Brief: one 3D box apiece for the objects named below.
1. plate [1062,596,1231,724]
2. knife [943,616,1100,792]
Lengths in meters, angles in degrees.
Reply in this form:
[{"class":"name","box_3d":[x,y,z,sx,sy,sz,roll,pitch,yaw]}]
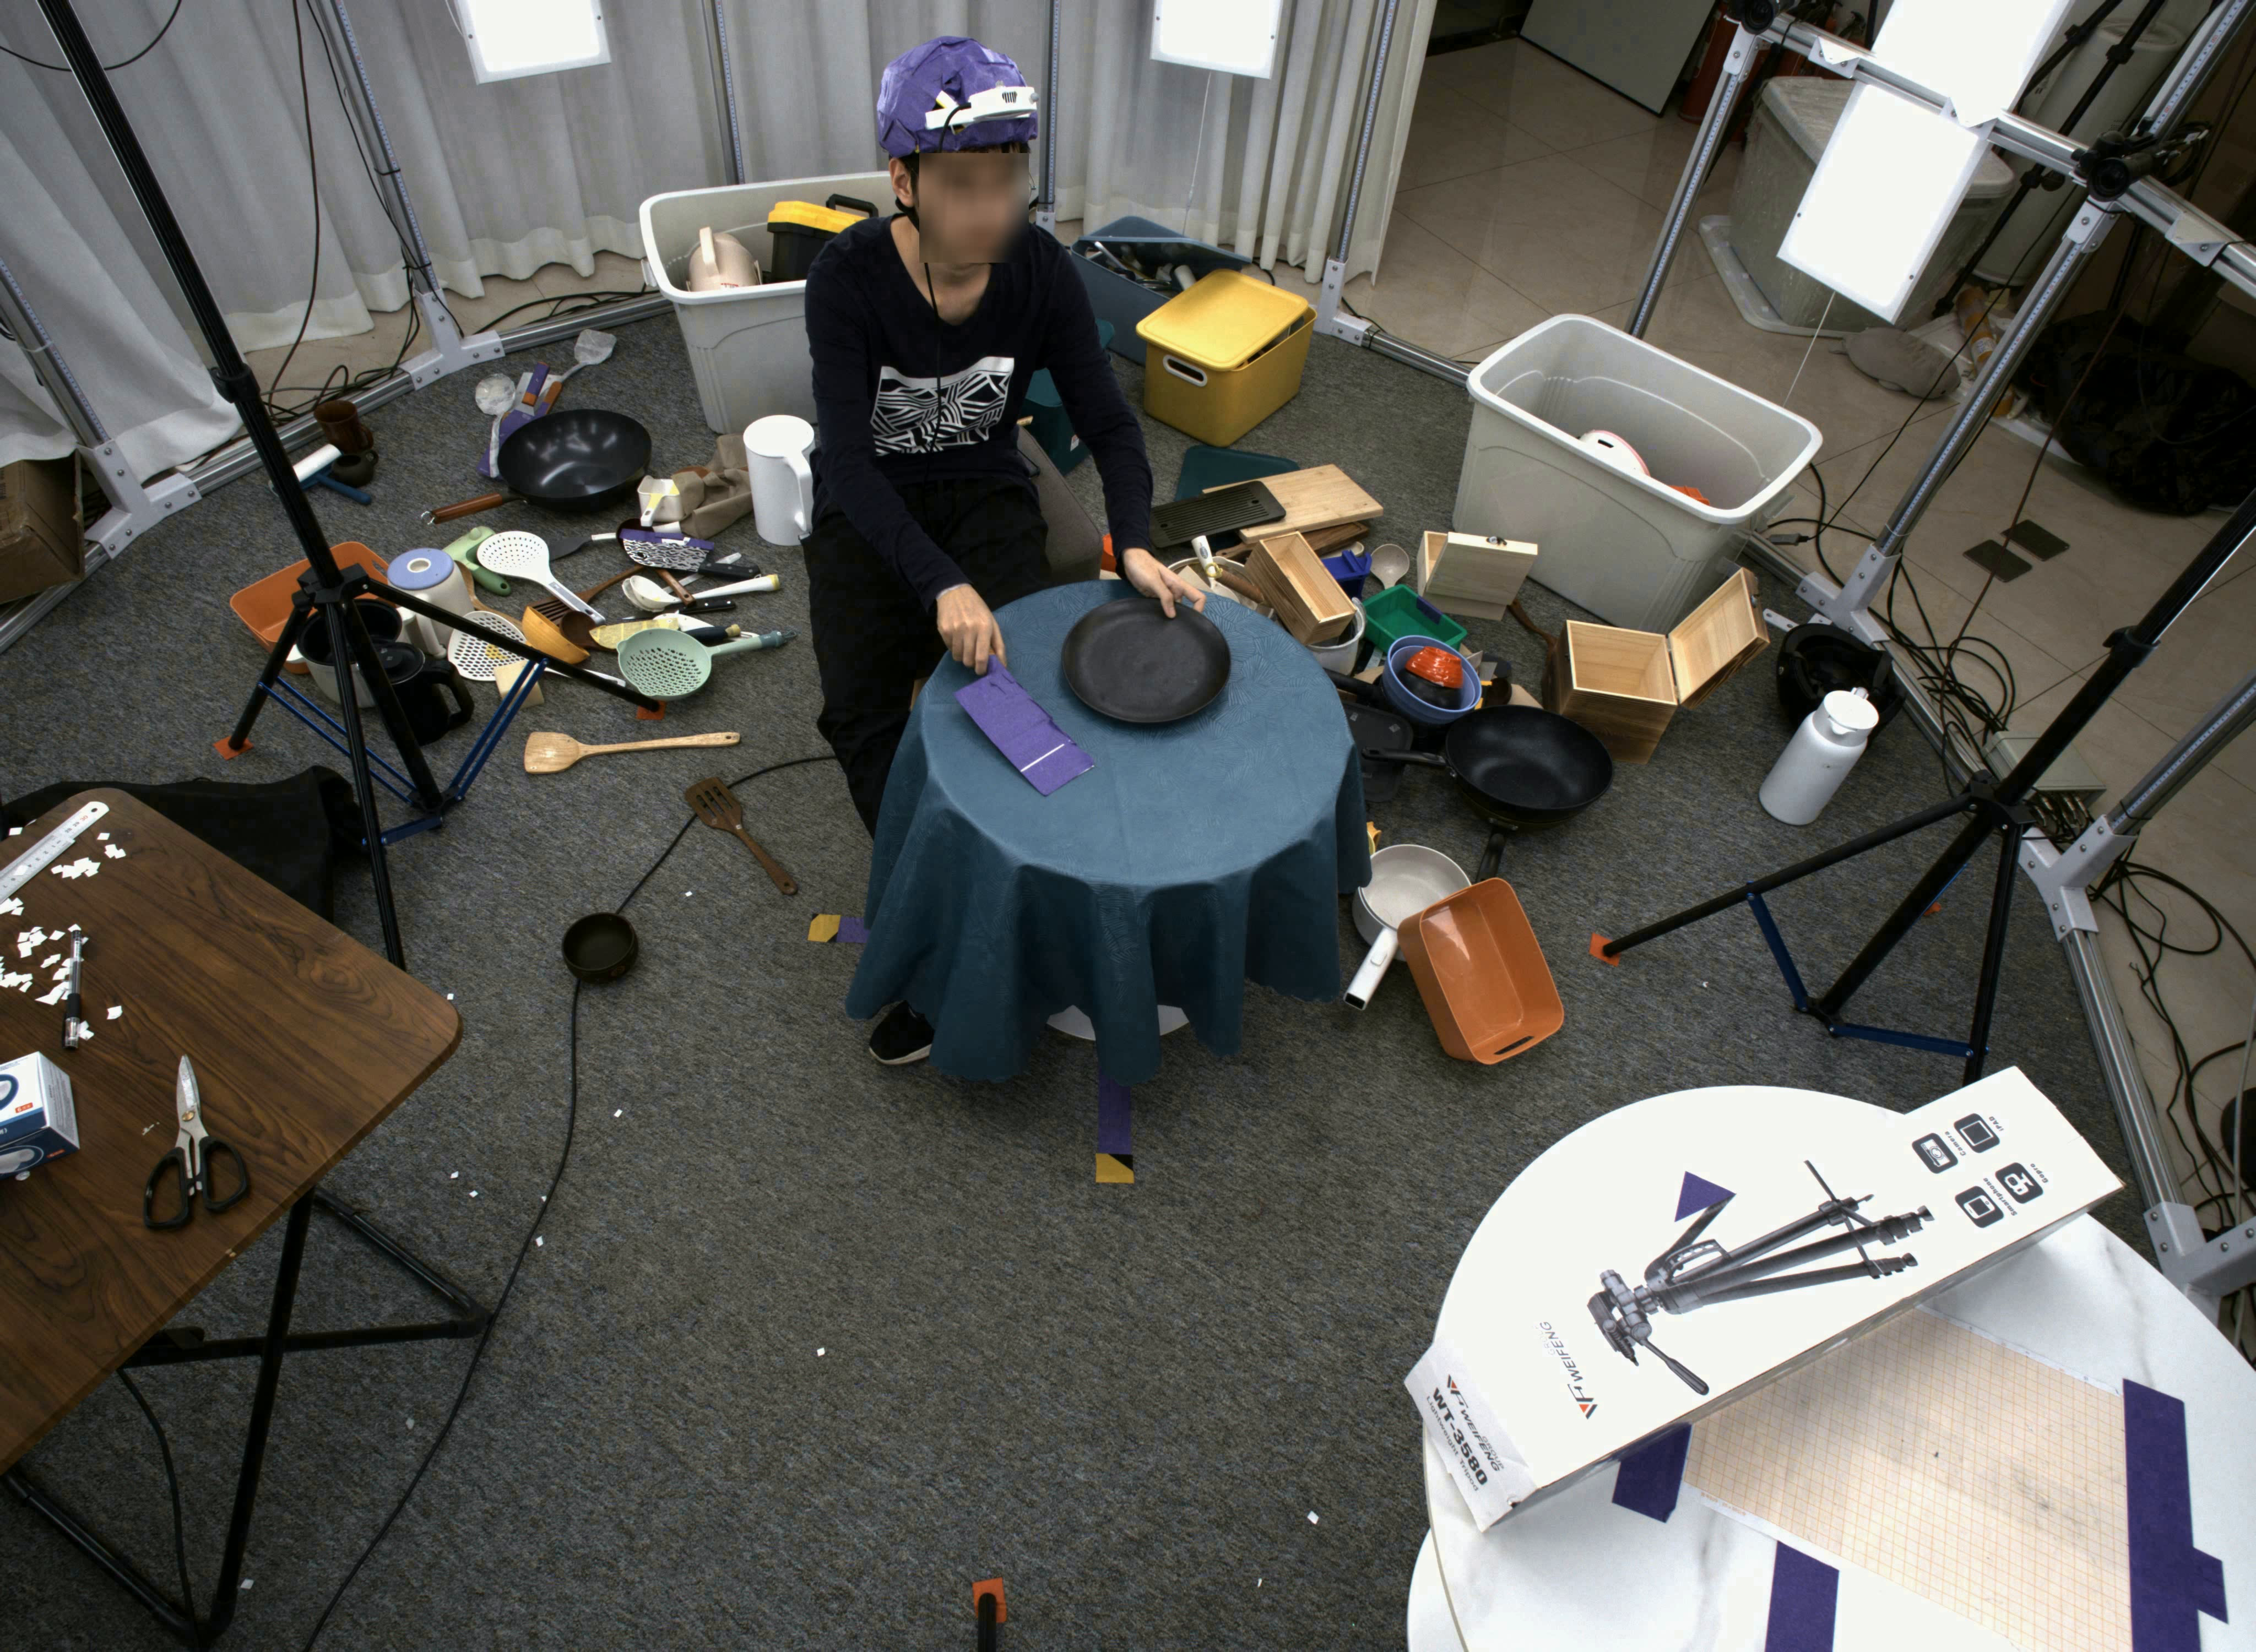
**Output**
[{"class":"plate","box_3d":[0.026,-0.237,1.850,0.244,0.023,0.250,0,53,-1]},{"class":"knife","box_3d":[-0.174,-0.171,1.767,0.104,0.031,0.320,-31,64,-28]}]
